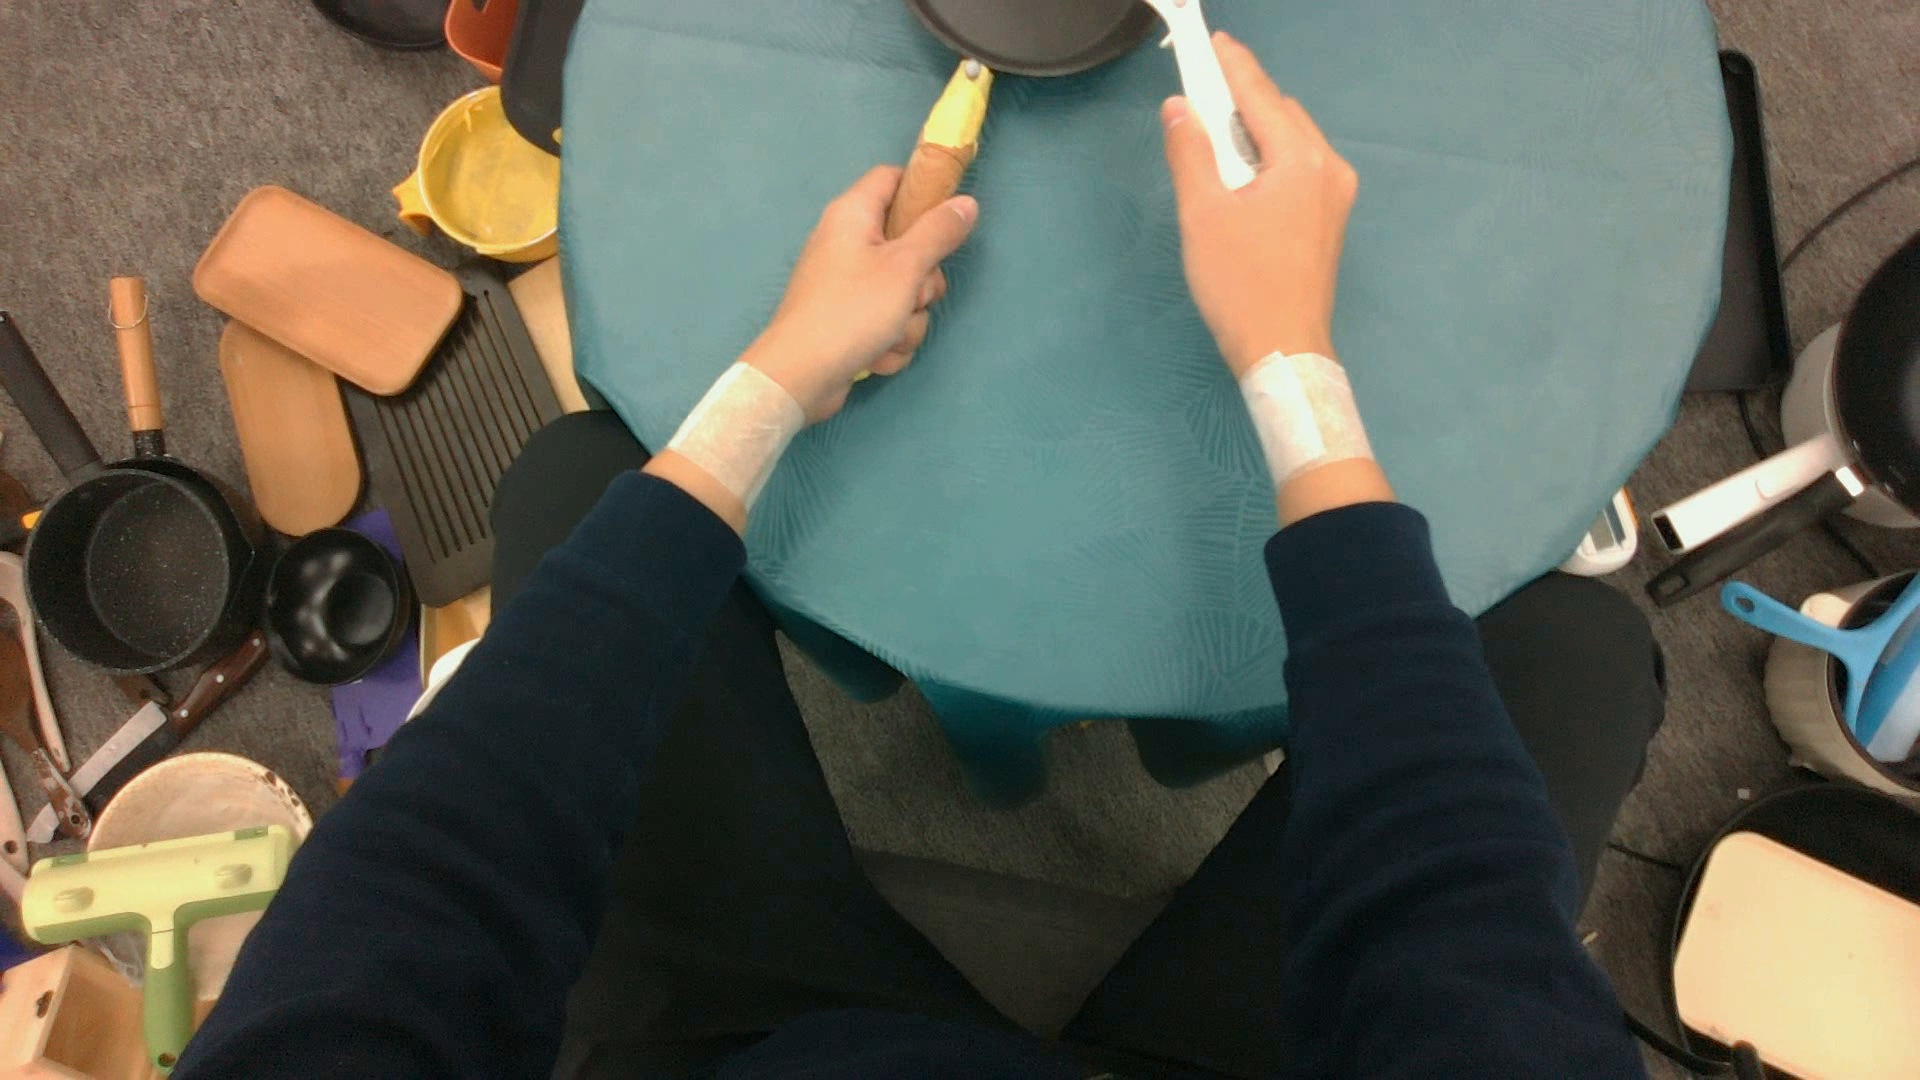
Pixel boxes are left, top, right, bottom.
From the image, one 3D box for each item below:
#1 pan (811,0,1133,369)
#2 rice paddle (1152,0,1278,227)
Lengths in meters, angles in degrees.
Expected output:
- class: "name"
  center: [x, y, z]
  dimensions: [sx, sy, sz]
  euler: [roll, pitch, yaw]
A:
- class: "pan"
  center: [-0.010, -0.235, 0.682]
  dimensions: [0.169, 0.049, 0.324]
  euler: [22, 85, -5]
- class: "rice paddle"
  center: [0.098, -0.246, 0.631]
  dimensions: [0.069, 0.029, 0.205]
  euler: [-18, 89, -30]
